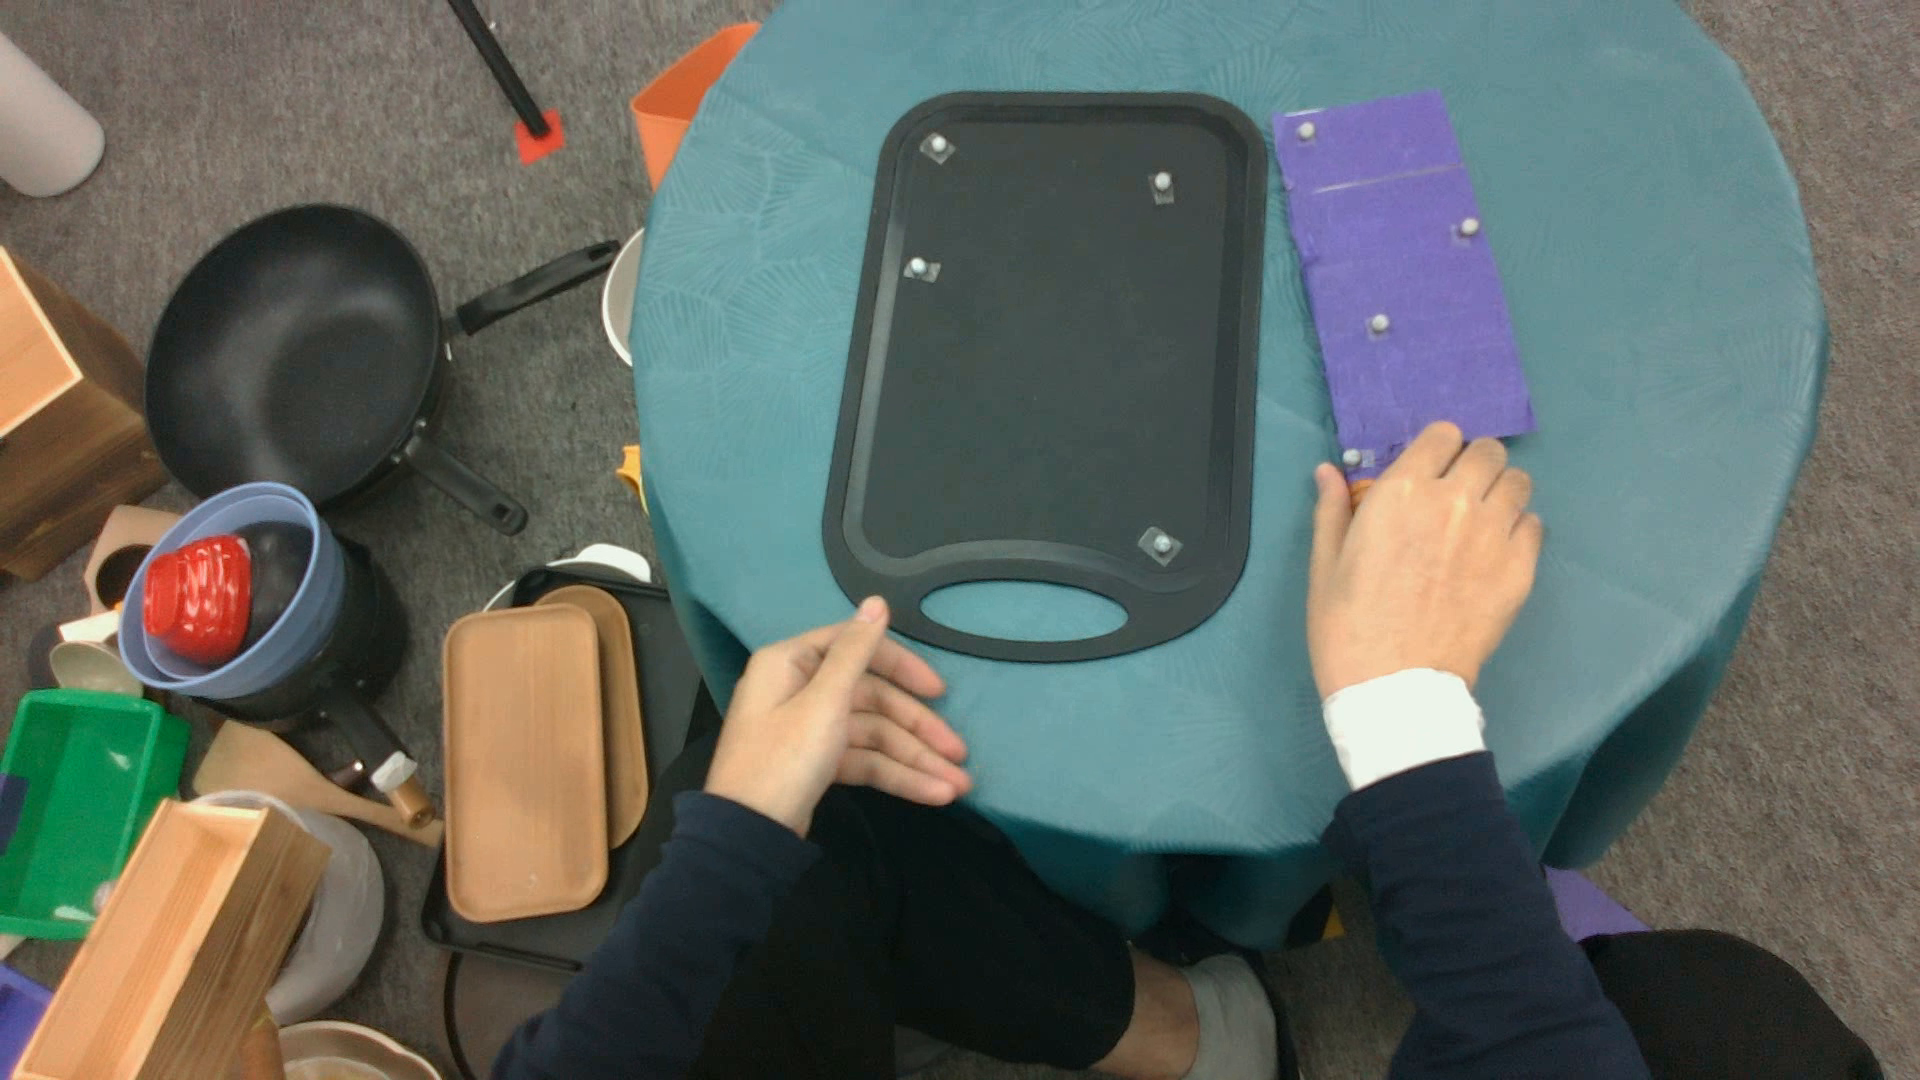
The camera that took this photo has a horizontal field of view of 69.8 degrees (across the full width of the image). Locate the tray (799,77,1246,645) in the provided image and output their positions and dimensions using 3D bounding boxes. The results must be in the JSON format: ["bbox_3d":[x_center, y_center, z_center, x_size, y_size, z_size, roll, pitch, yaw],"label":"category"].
[{"bbox_3d":[0.035,-0.103,0.701,0.211,0.010,0.326,4,69,8],"label":"tray"}]

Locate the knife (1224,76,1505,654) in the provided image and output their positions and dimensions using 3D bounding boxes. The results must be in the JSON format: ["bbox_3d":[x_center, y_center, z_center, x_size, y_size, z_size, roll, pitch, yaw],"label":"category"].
[{"bbox_3d":[0.209,-0.102,0.670,0.104,0.032,0.316,-9,67,4],"label":"knife"}]
